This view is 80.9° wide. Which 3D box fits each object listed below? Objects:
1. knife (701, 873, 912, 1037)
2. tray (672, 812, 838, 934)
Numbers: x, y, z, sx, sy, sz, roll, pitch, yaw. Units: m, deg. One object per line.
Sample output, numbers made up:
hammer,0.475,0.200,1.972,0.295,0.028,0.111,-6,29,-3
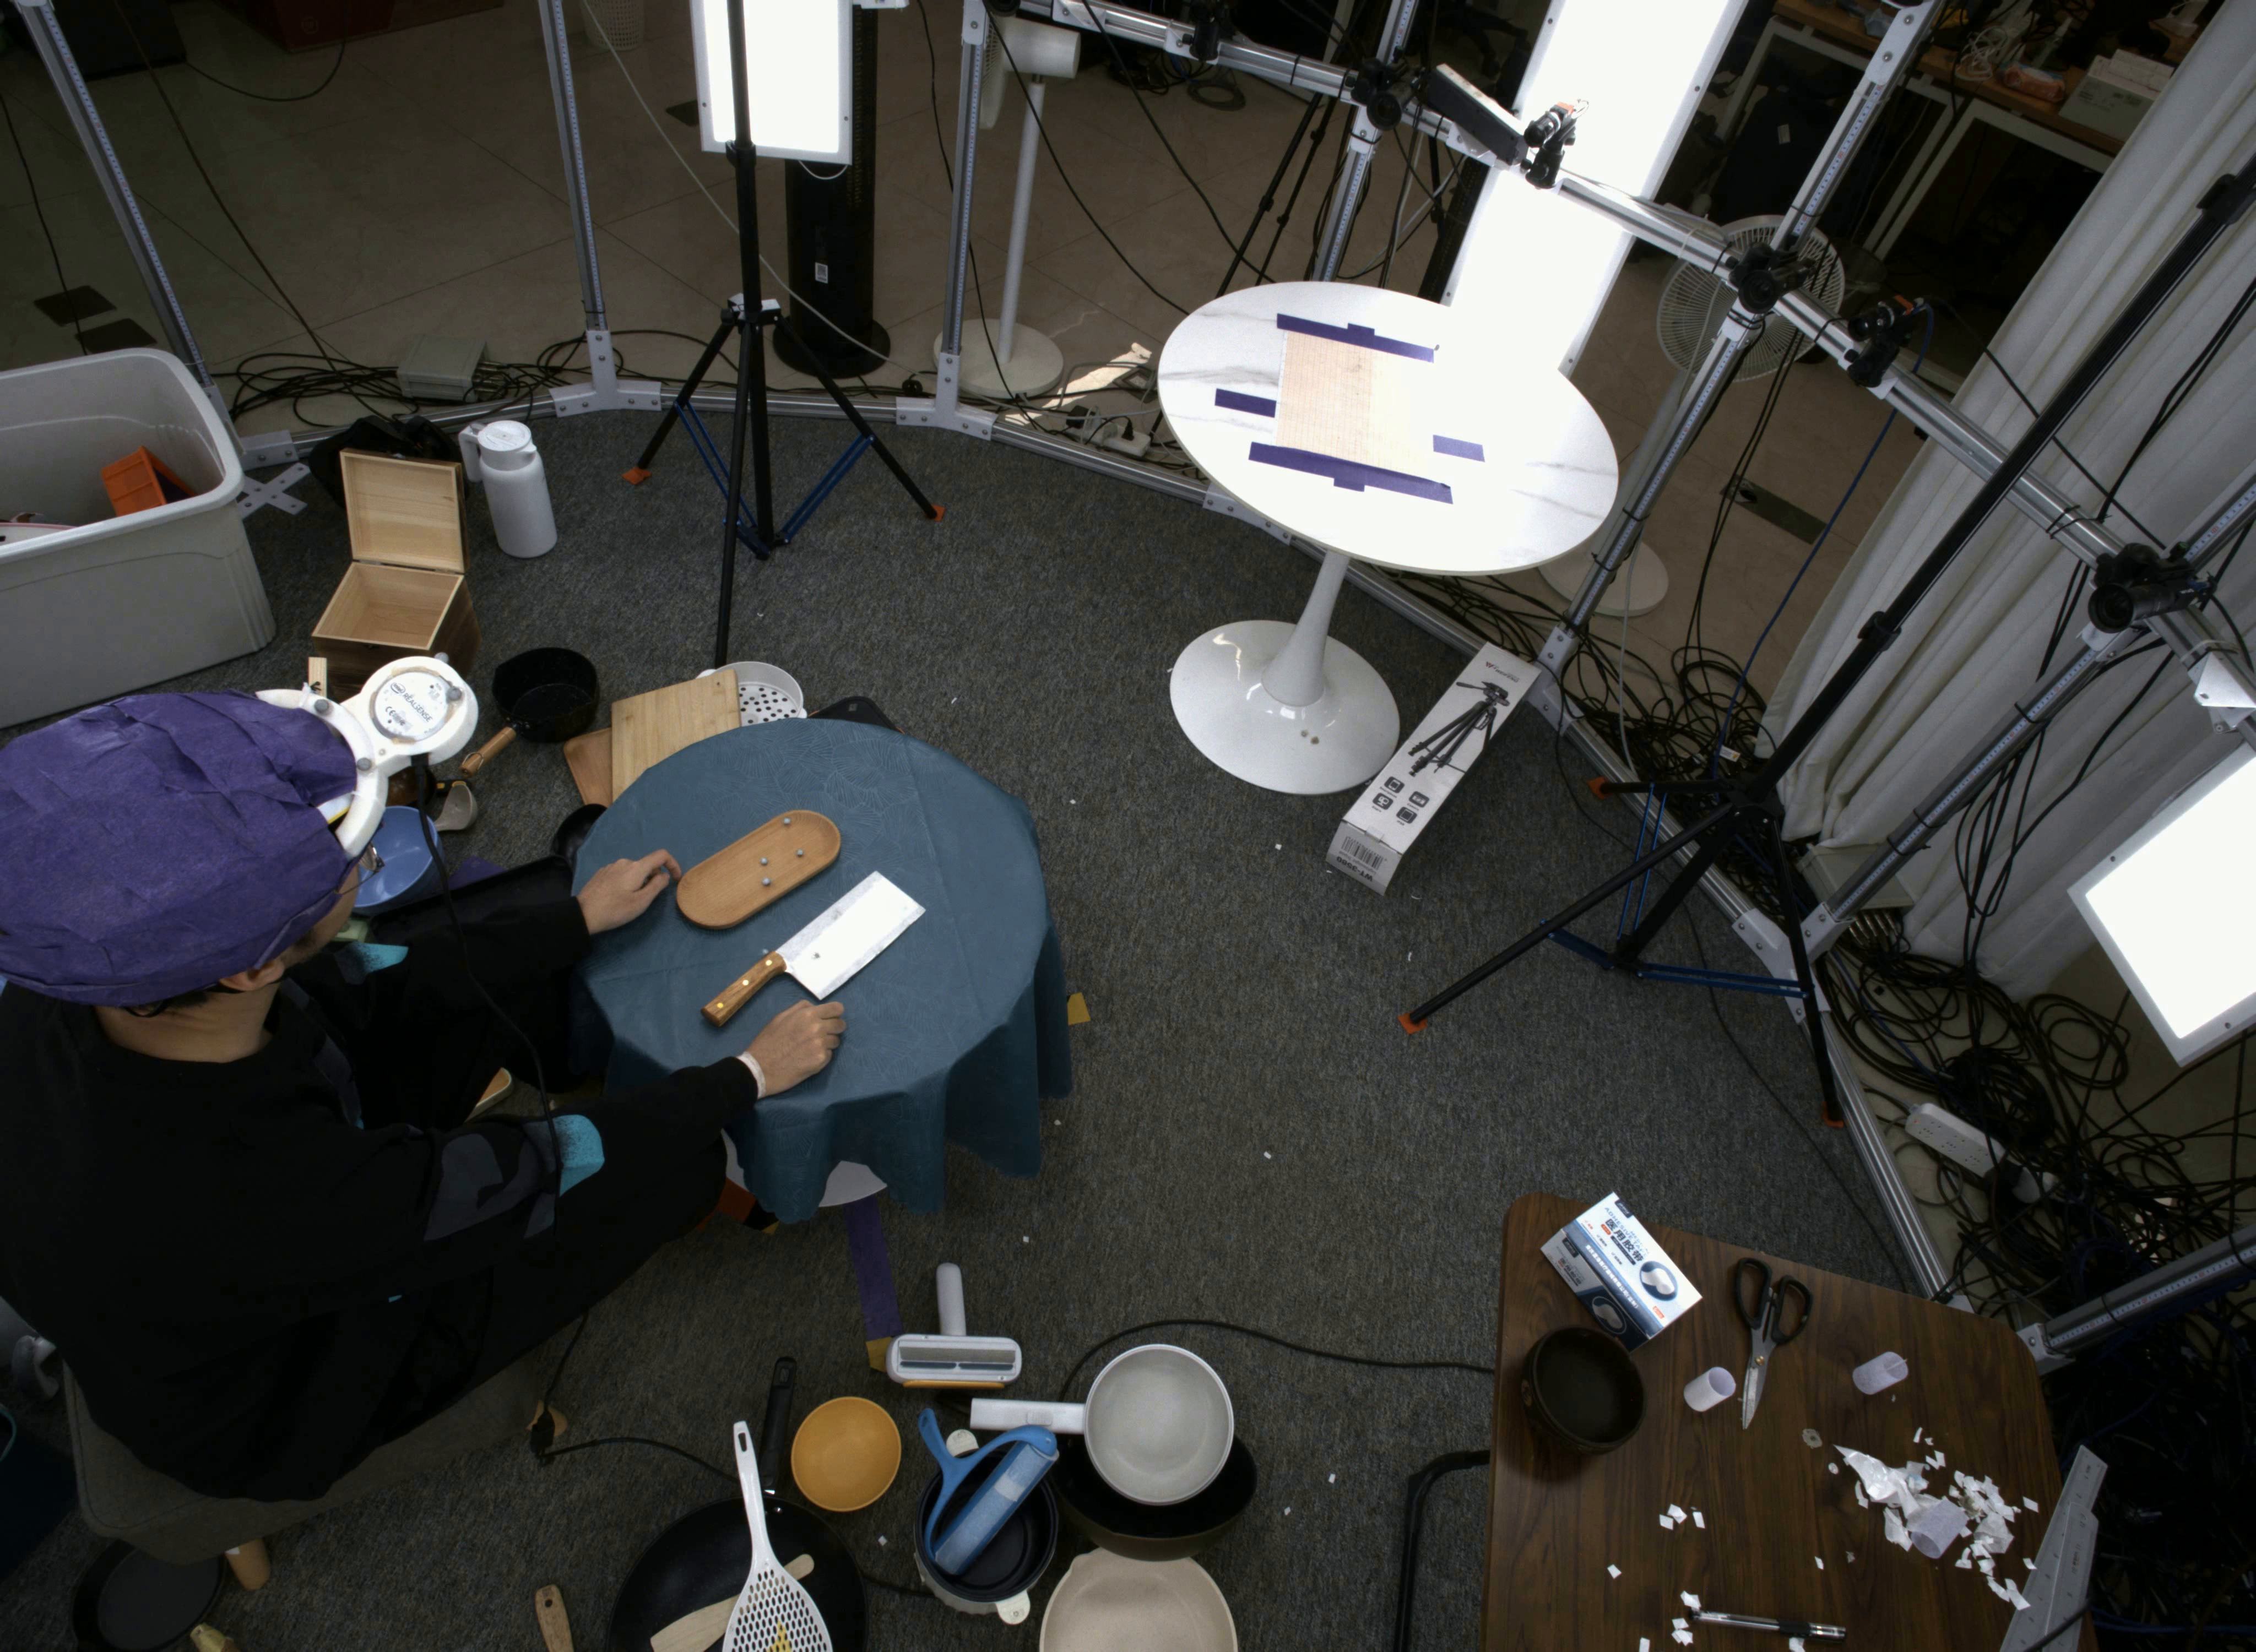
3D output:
knife,-0.384,0.164,1.592,0.091,0.021,0.306,37,51,12
tray,-0.473,0.057,1.647,0.099,0.021,0.231,42,55,17
